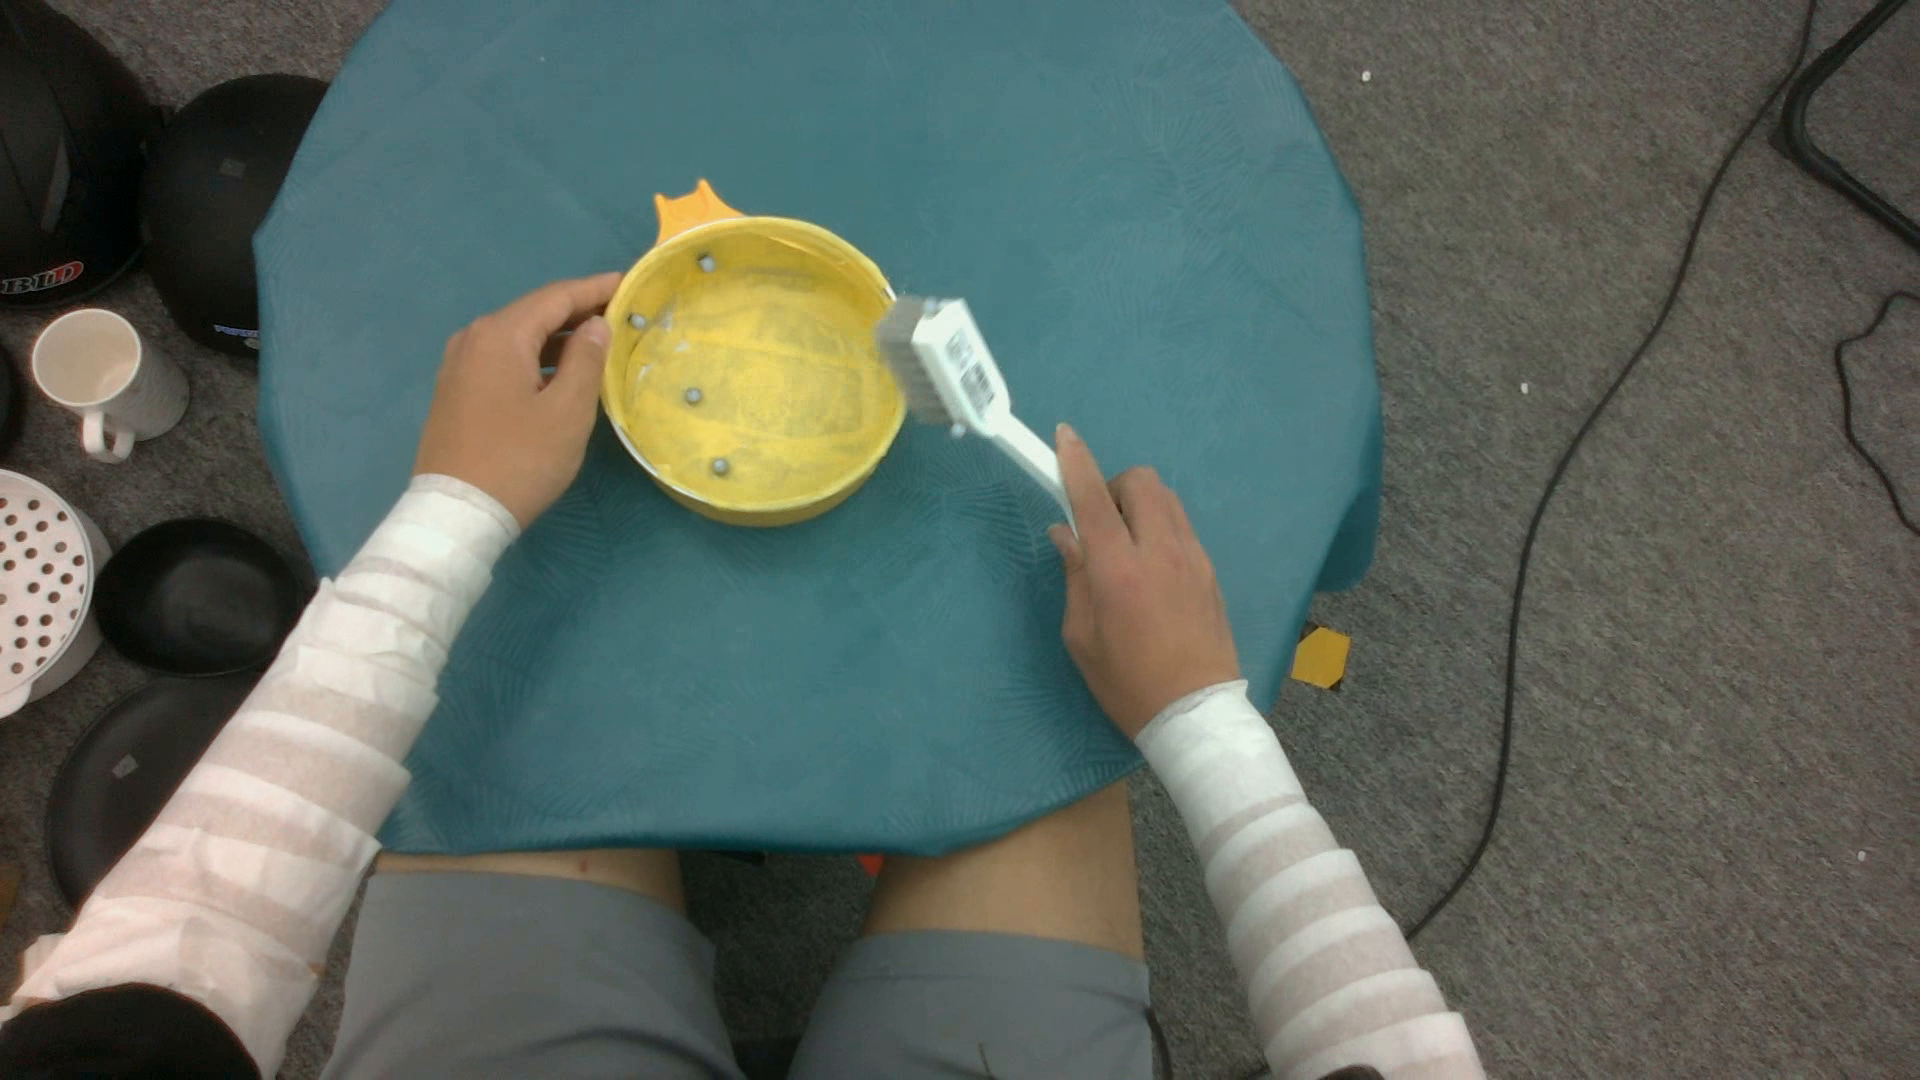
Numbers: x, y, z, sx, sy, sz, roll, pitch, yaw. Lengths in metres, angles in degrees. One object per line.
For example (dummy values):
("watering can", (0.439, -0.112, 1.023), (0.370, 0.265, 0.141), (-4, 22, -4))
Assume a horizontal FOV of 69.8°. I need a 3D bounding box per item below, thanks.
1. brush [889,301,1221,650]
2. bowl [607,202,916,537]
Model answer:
("brush", (0.050, -0.026, 0.703), (0.243, 0.050, 0.034), (48, 49, -22))
("bowl", (-0.104, -0.087, 0.714), (0.153, 0.074, 0.179), (-27, 79, -9))
